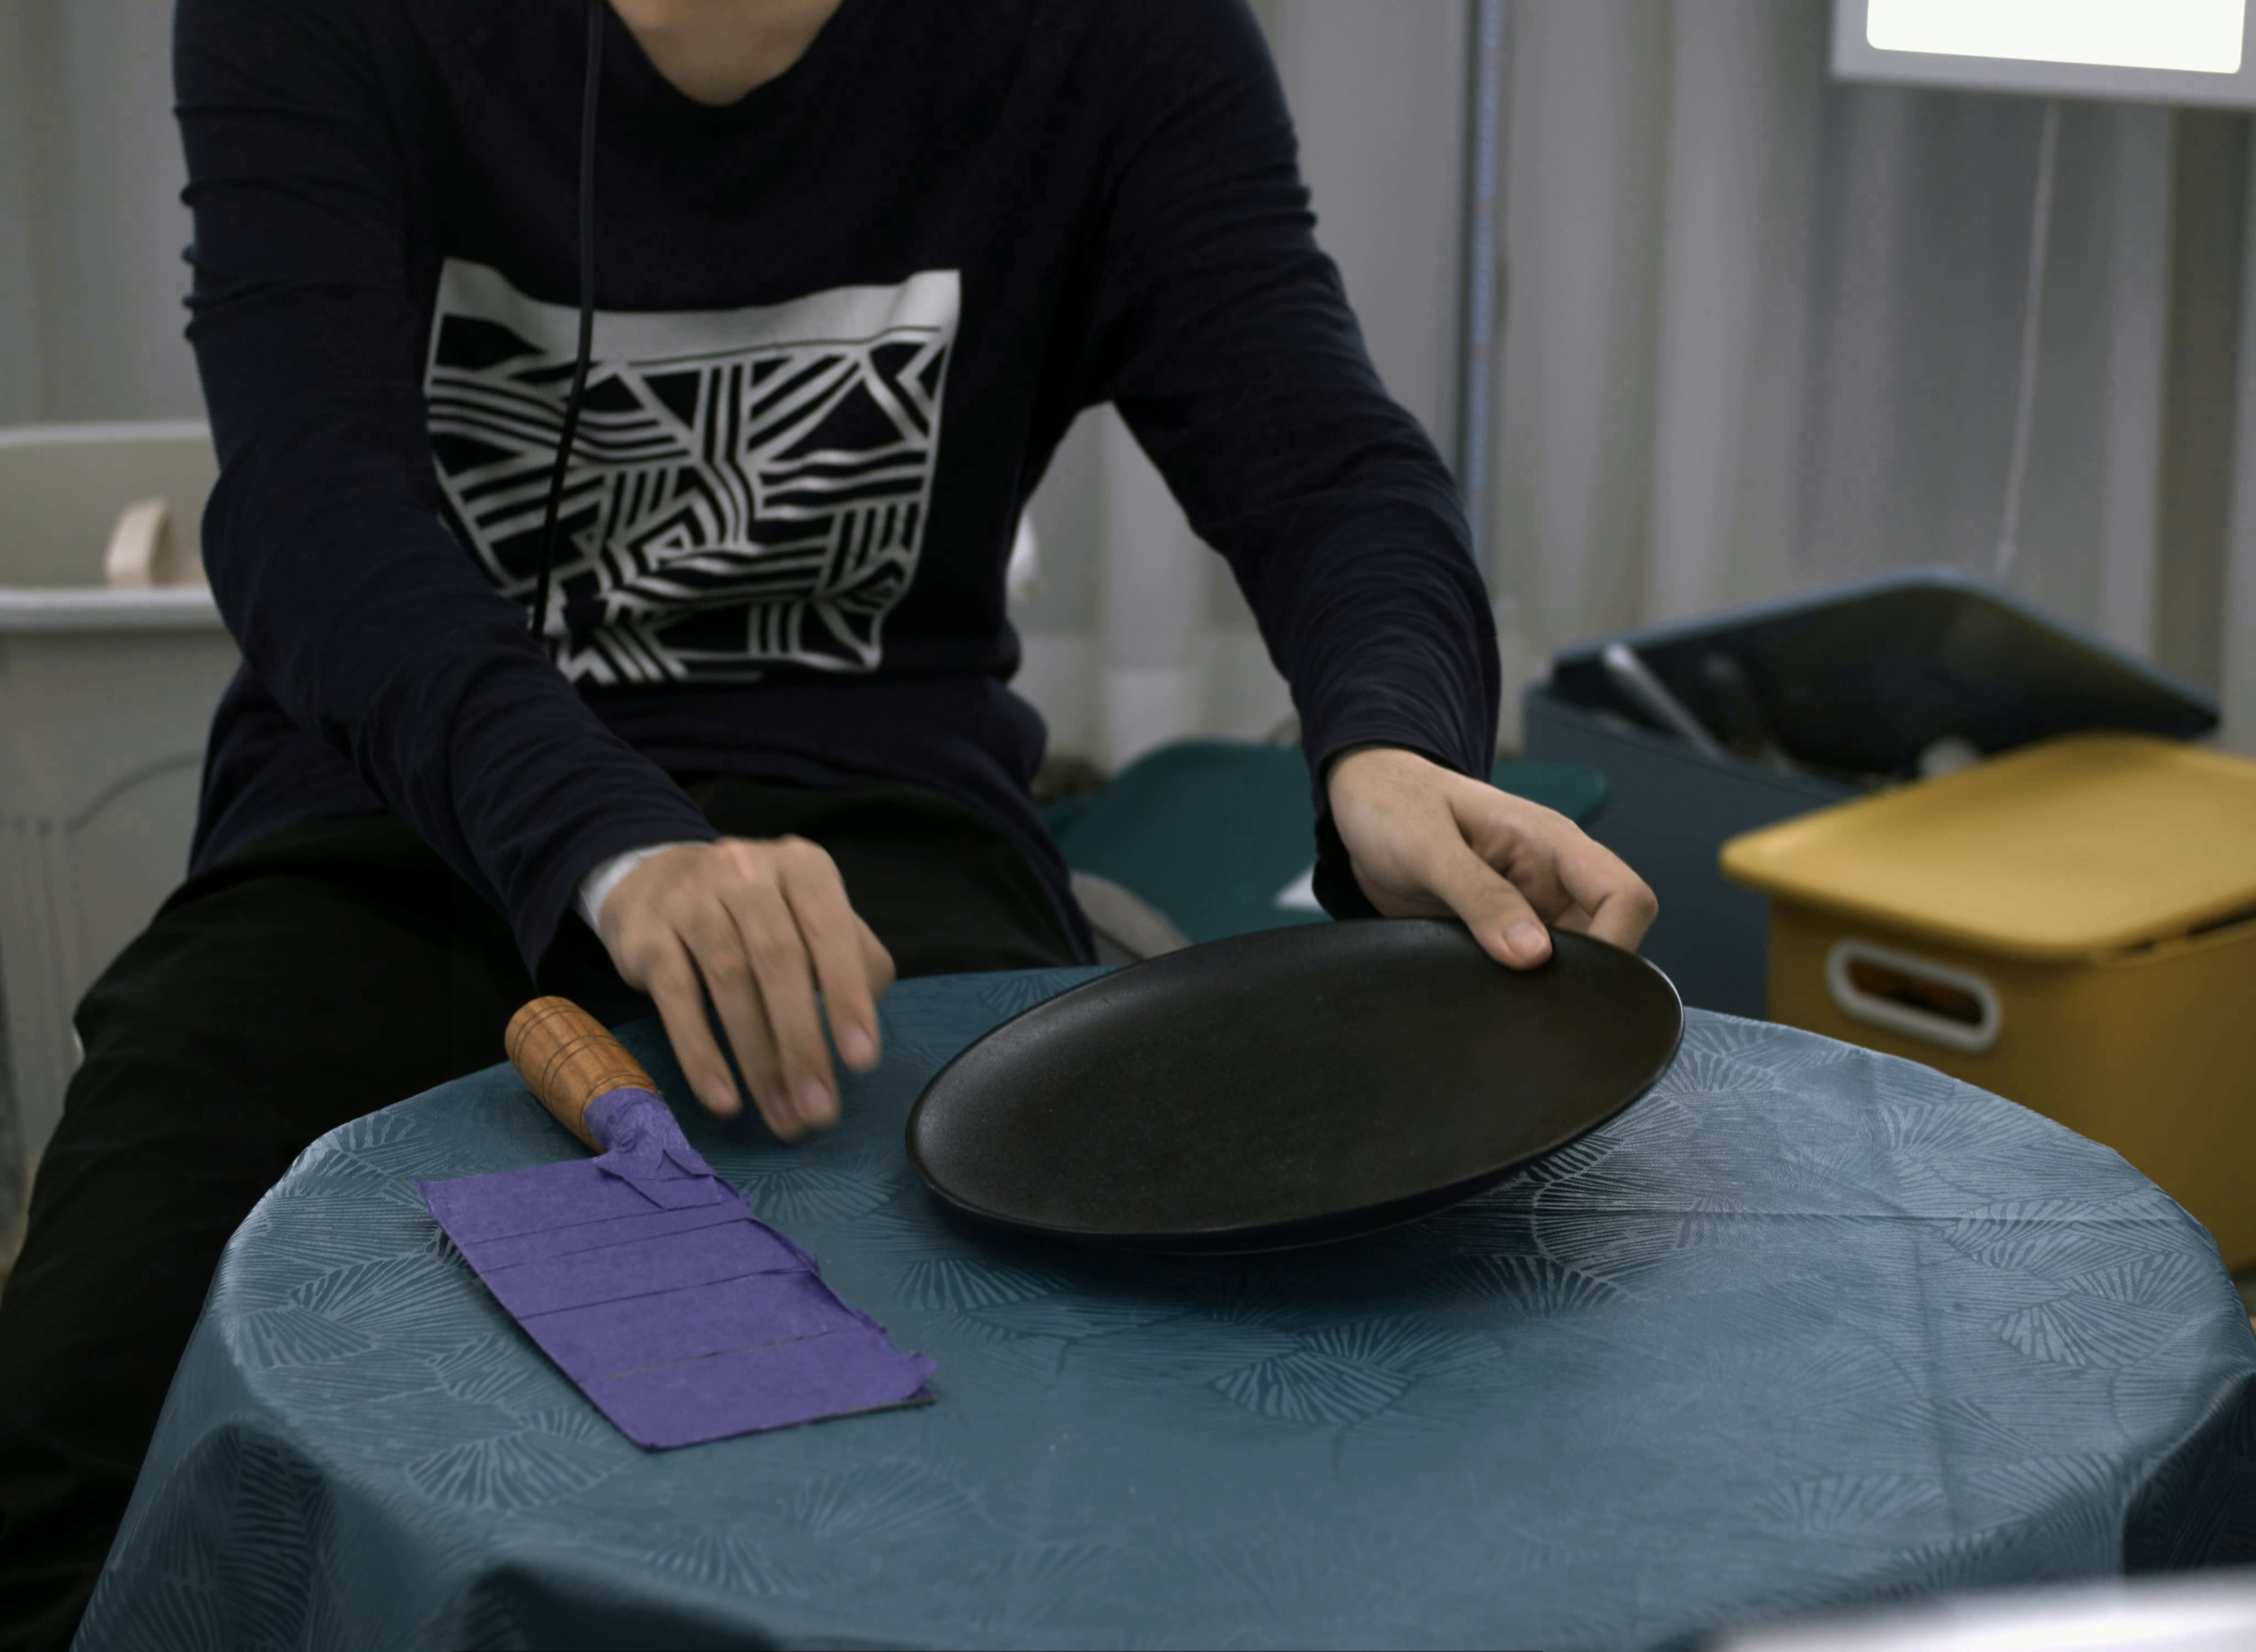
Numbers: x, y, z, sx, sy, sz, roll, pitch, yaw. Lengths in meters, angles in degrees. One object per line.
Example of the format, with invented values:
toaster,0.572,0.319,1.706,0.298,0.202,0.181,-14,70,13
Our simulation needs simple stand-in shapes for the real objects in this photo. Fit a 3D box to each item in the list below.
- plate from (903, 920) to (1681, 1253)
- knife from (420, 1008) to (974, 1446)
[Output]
plate,0.051,0.084,1.628,0.243,0.023,0.243,-9,19,4
knife,-0.154,0.115,1.562,0.104,0.032,0.311,-7,17,-25
